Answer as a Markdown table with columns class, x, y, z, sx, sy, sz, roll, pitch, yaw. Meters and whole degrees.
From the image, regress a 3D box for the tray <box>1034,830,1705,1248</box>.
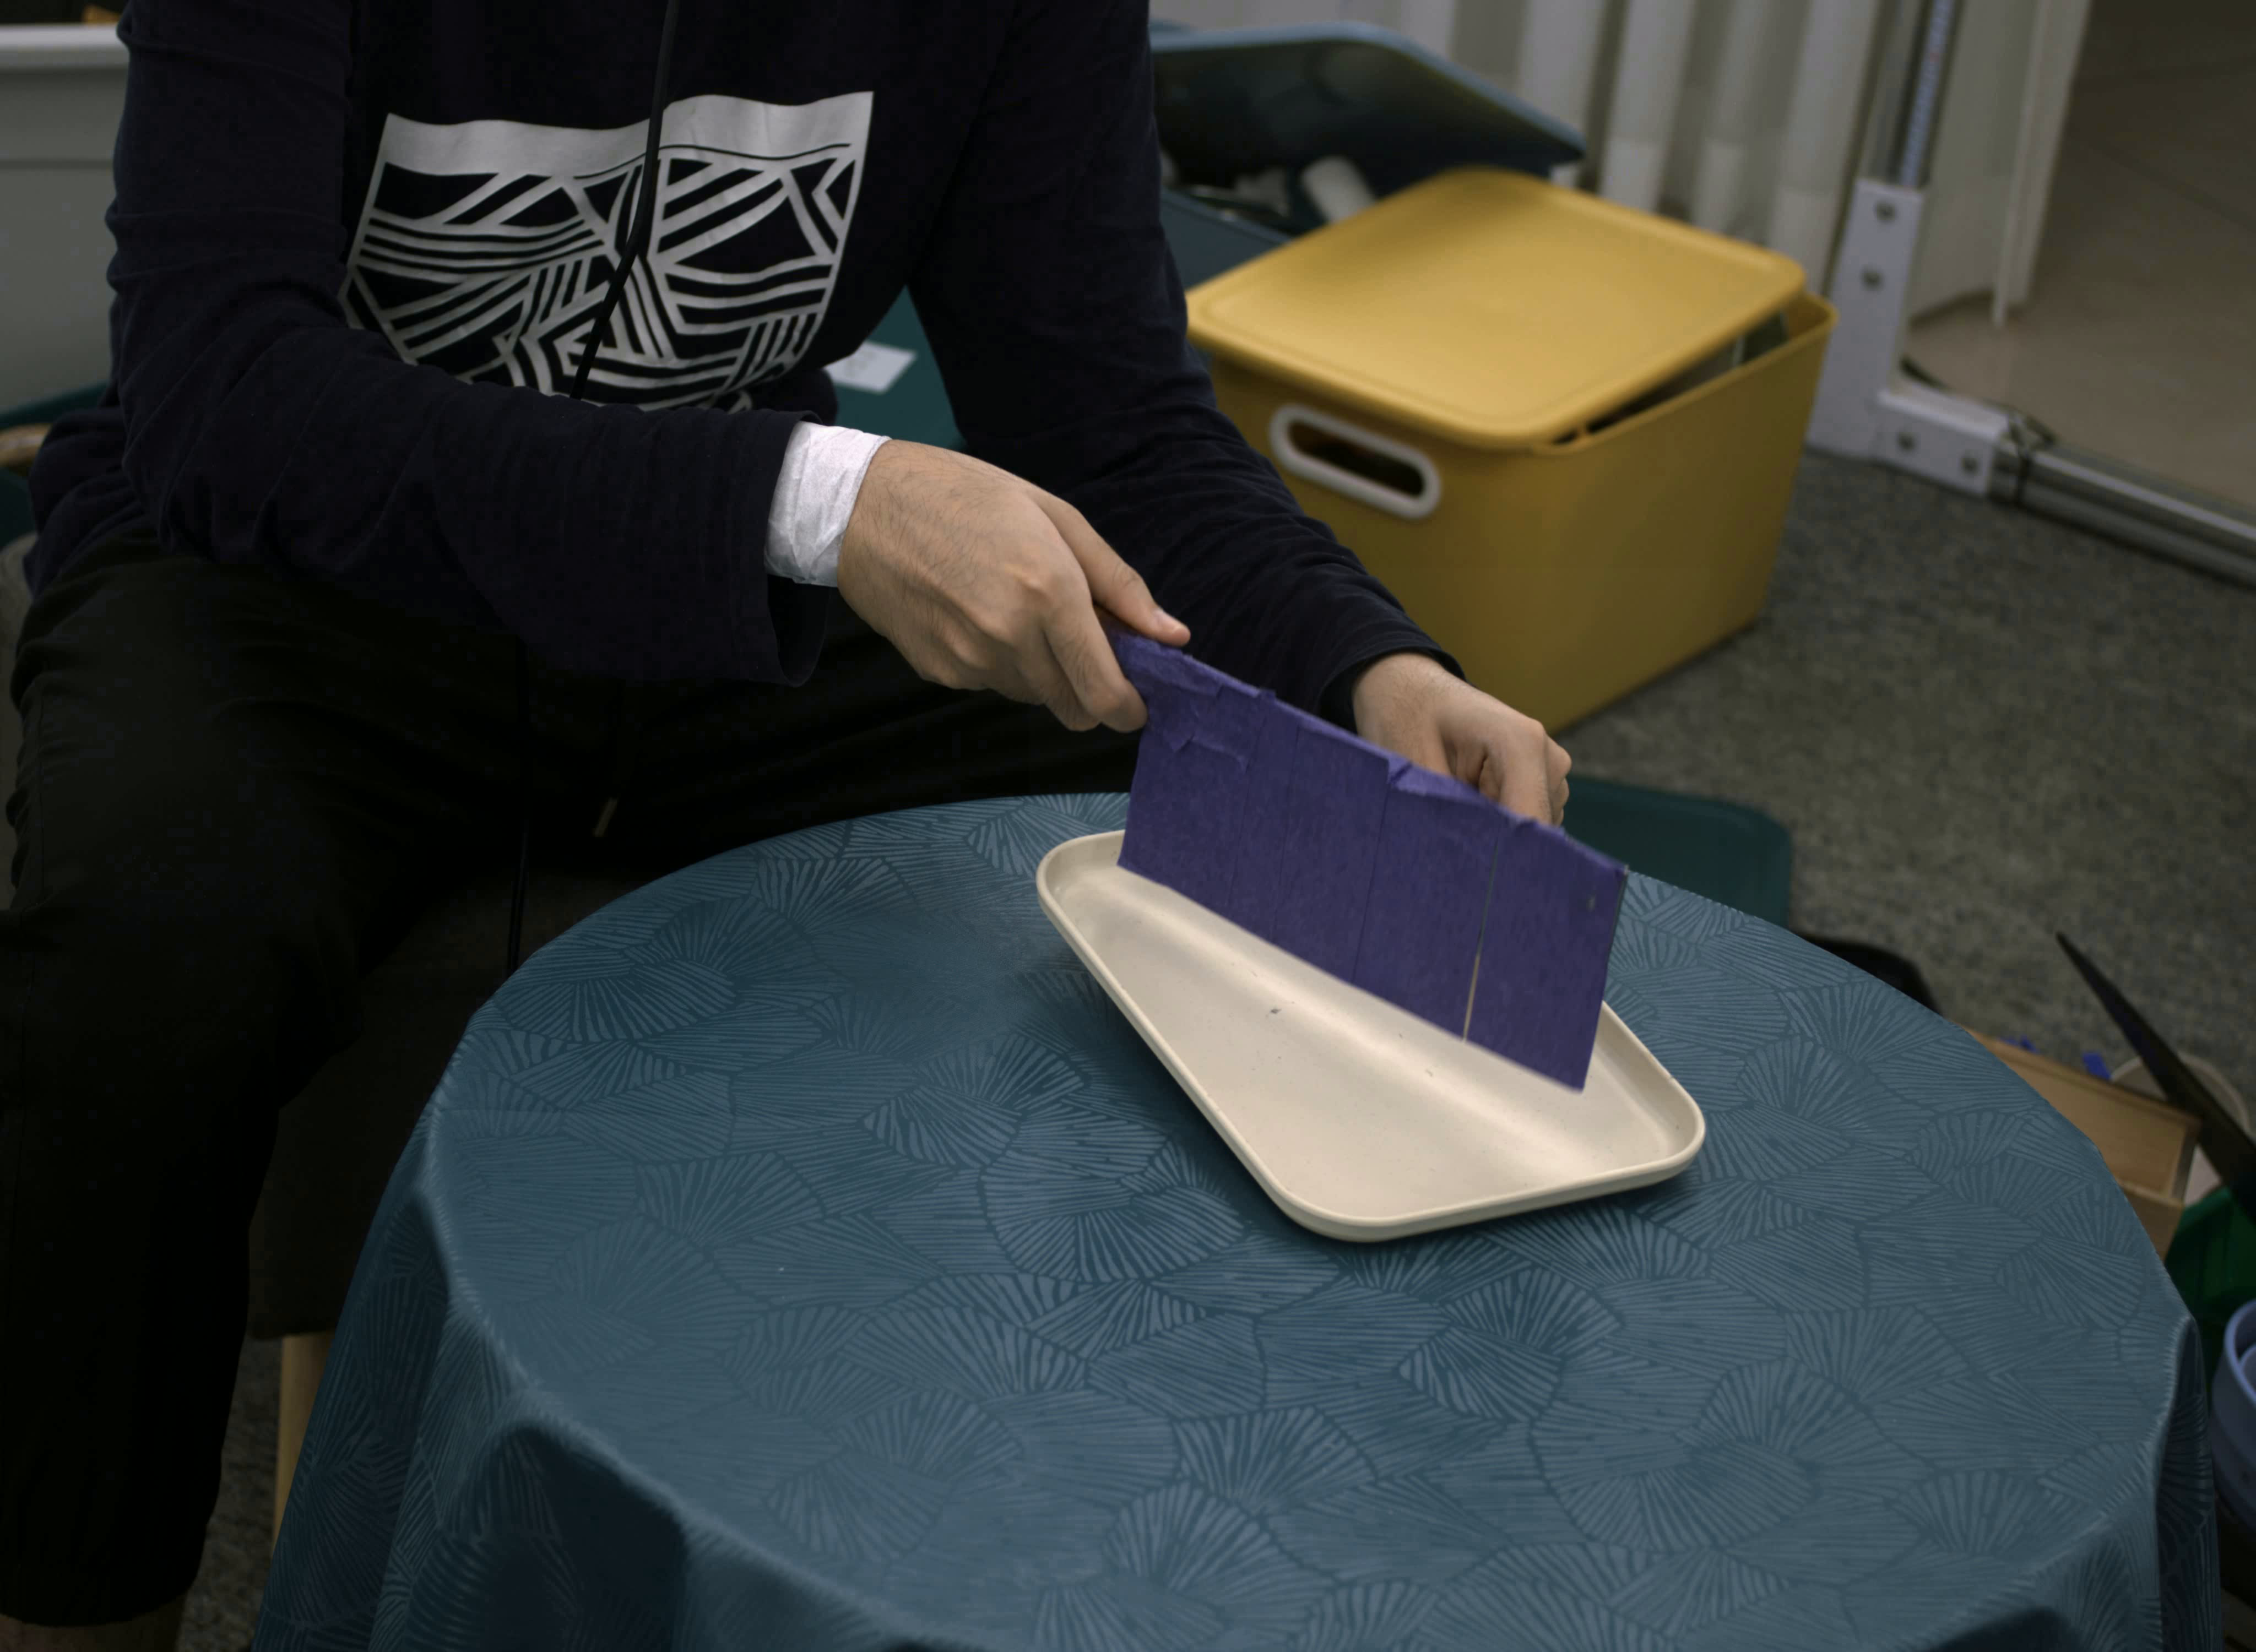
| class | x | y | z | sx | sy | sz | roll | pitch | yaw |
| --- | --- | --- | --- | --- | --- | --- | --- | --- | --- |
| tray | 0.083 | 0.067 | 1.890 | 0.170 | 0.017 | 0.242 | -10 | 37 | -25 |

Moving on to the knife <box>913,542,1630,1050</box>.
| class | x | y | z | sx | sy | sz | roll | pitch | yaw |
| --- | --- | --- | --- | --- | --- | --- | --- | --- | --- |
| knife | 0.042 | -0.009 | 1.887 | 0.317 | 0.103 | 0.032 | 26 | 28 | 35 |
